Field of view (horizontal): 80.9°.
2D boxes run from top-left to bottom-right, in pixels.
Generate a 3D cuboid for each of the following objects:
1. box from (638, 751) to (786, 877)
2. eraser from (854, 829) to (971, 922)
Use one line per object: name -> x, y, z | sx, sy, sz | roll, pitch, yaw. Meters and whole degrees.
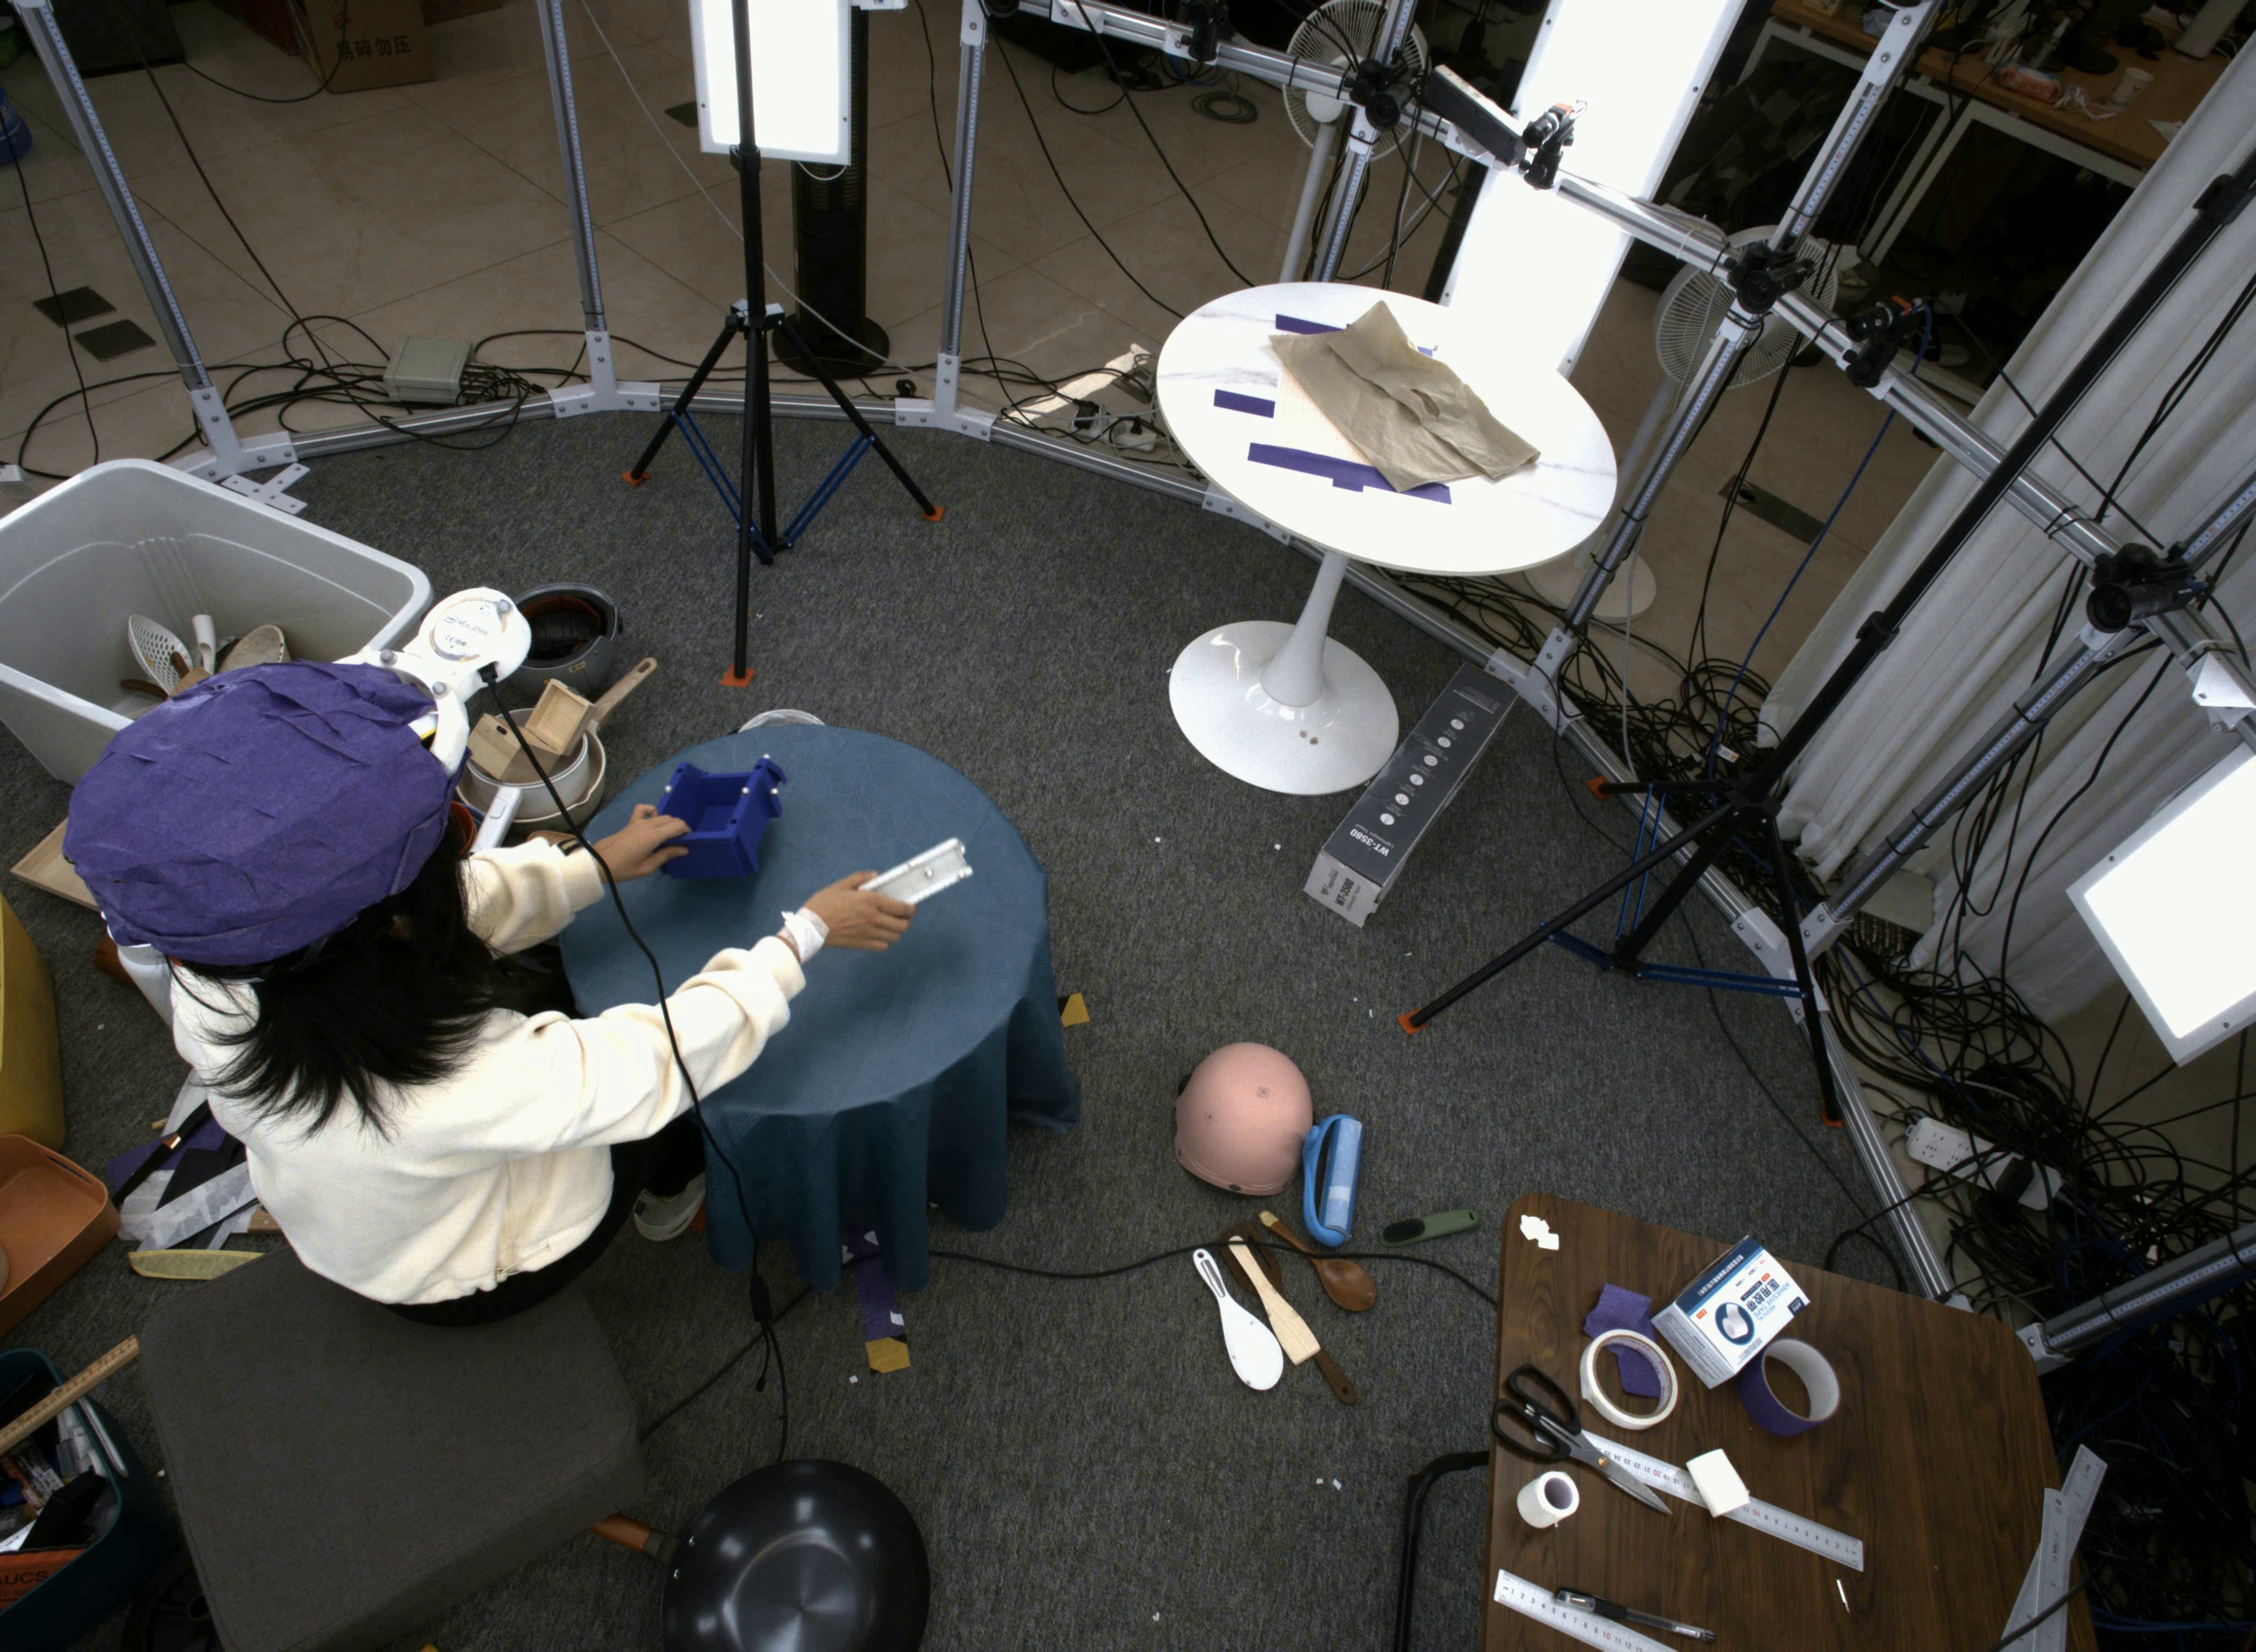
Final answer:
box -> -0.517, -0.022, 1.614 | 0.122, 0.085, 0.176 | -2, 44, 9
eraser -> -0.259, 0.058, 1.564 | 0.134, 0.046, 0.050 | -32, 99, -20
